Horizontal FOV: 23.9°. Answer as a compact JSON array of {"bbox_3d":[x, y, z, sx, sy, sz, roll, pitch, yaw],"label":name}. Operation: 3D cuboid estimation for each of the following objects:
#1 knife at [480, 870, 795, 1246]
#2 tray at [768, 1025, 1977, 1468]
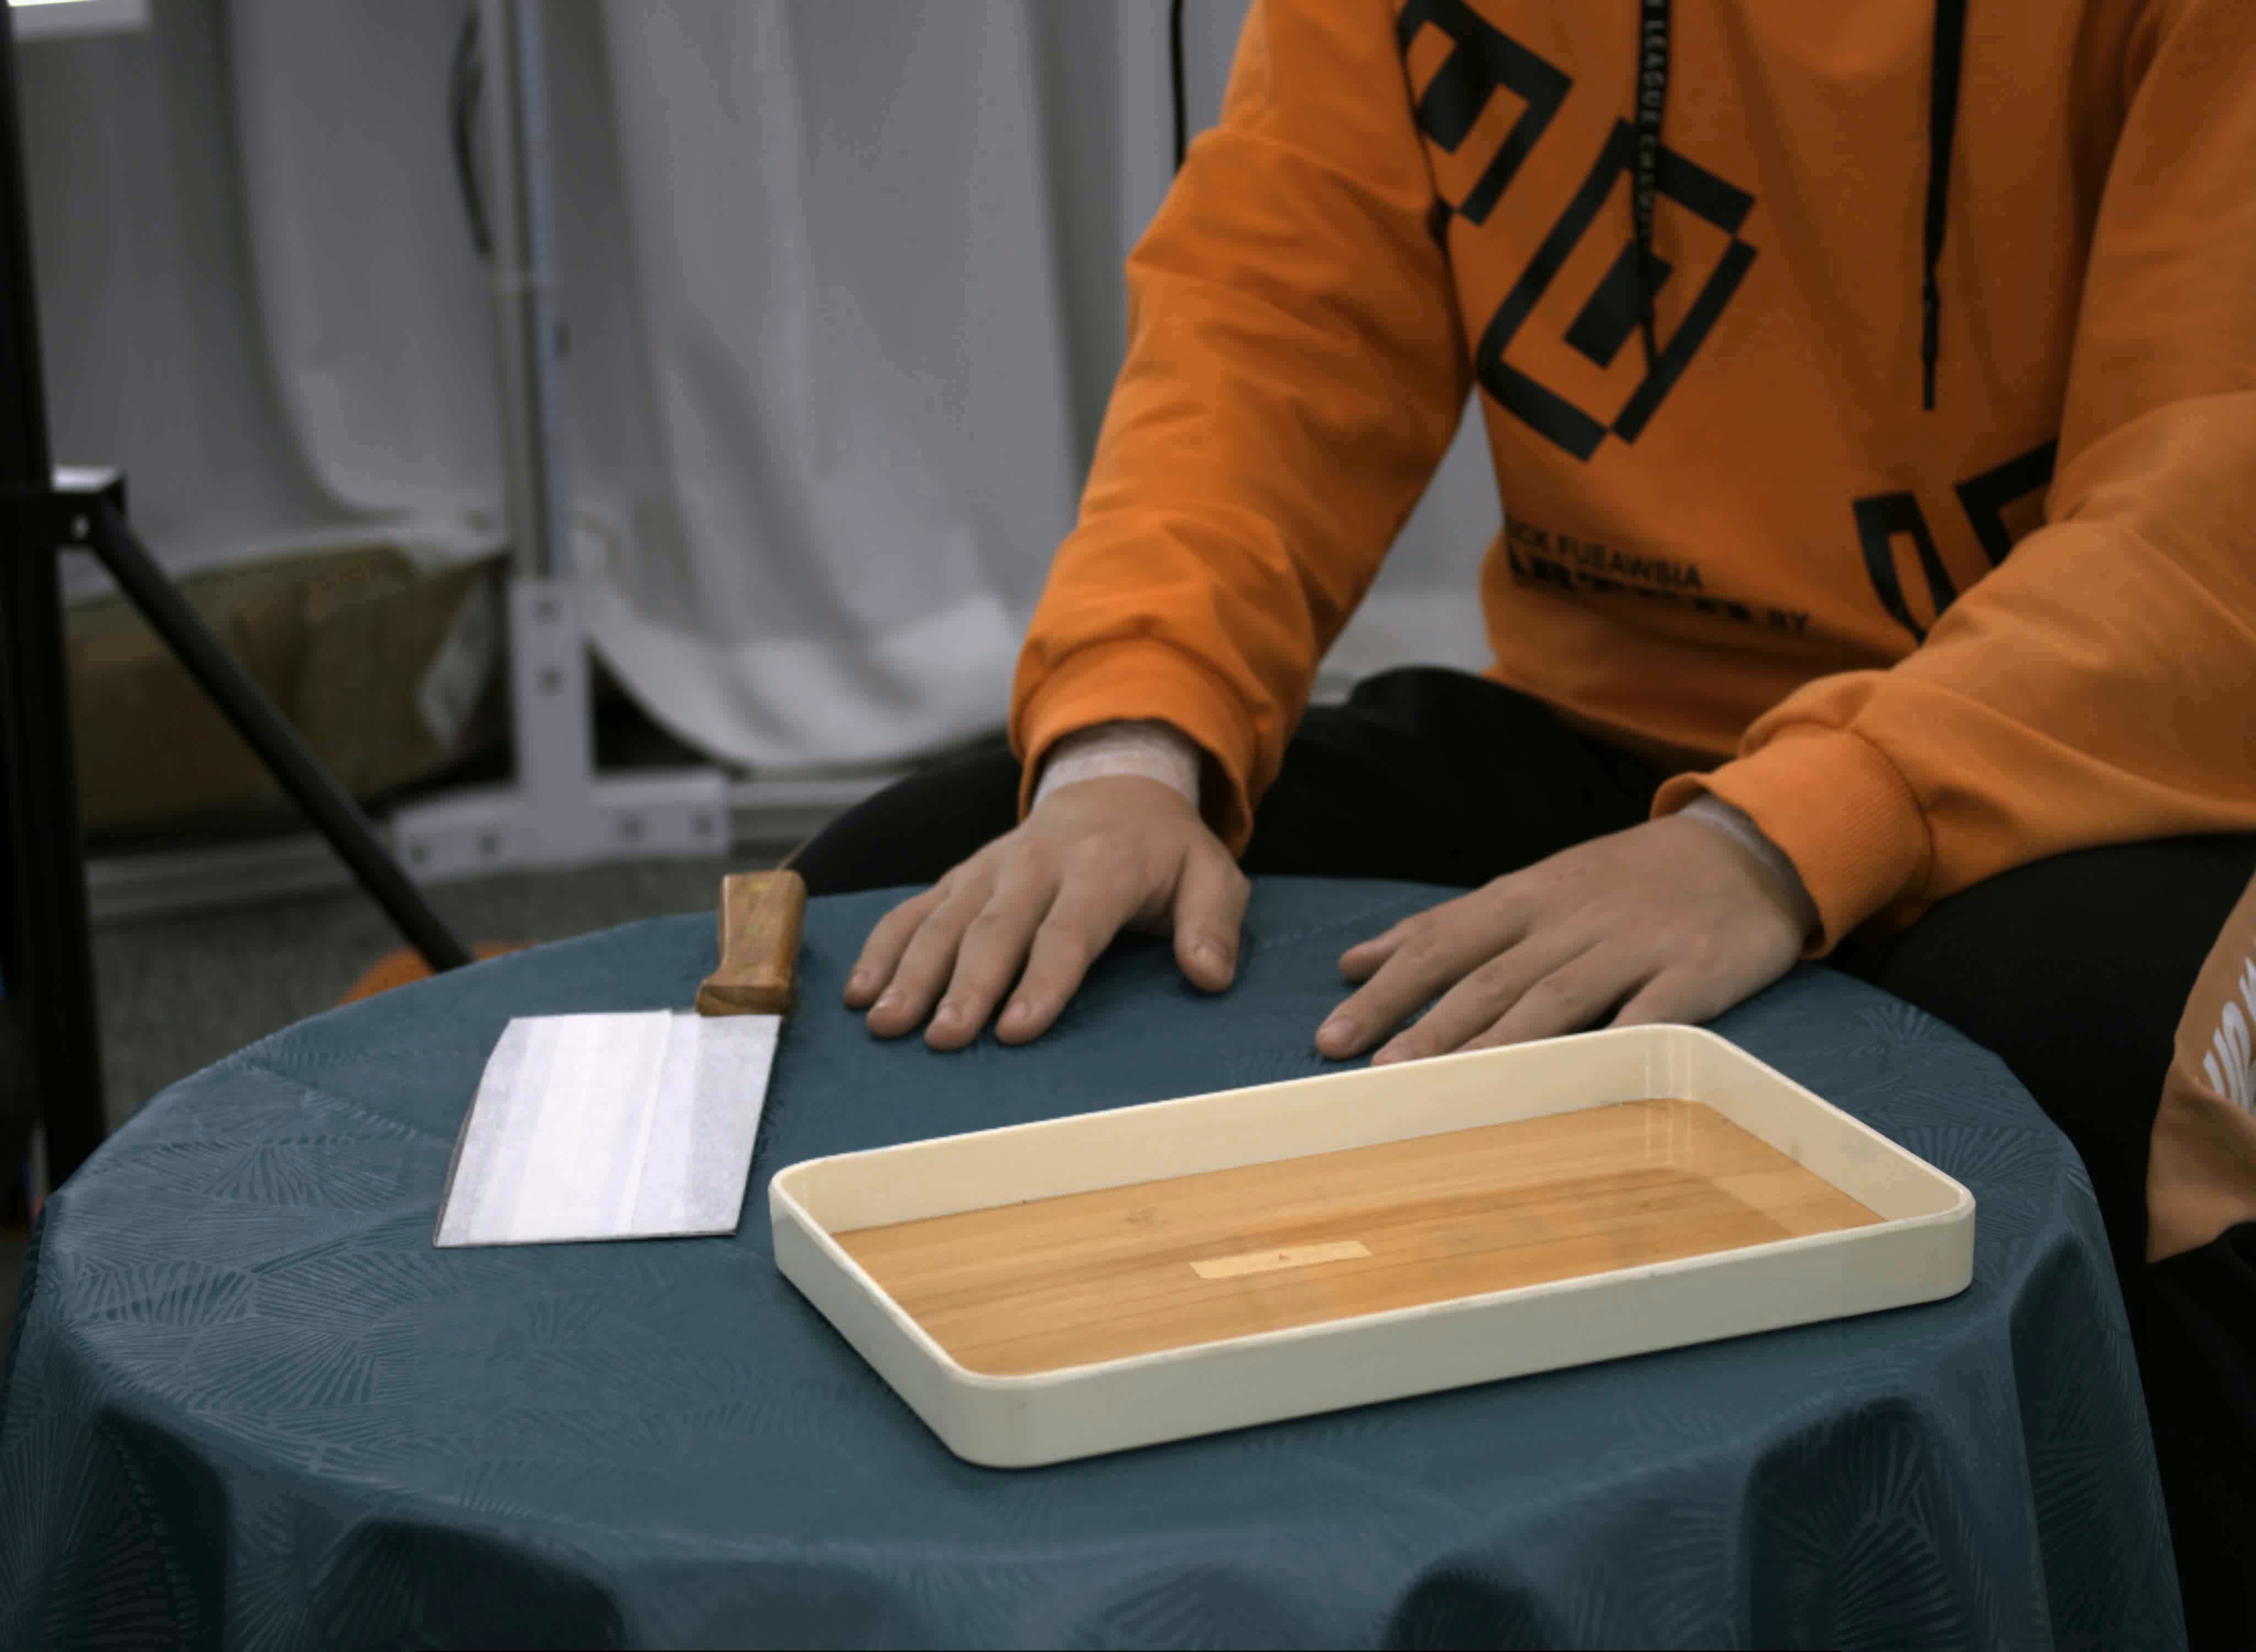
[{"bbox_3d":[-0.154,0.072,1.684,0.092,0.021,0.307,-3,18,2],"label":"knife"},{"bbox_3d":[0.066,0.113,1.477,0.295,0.027,0.195,-8,16,-18],"label":"tray"}]
